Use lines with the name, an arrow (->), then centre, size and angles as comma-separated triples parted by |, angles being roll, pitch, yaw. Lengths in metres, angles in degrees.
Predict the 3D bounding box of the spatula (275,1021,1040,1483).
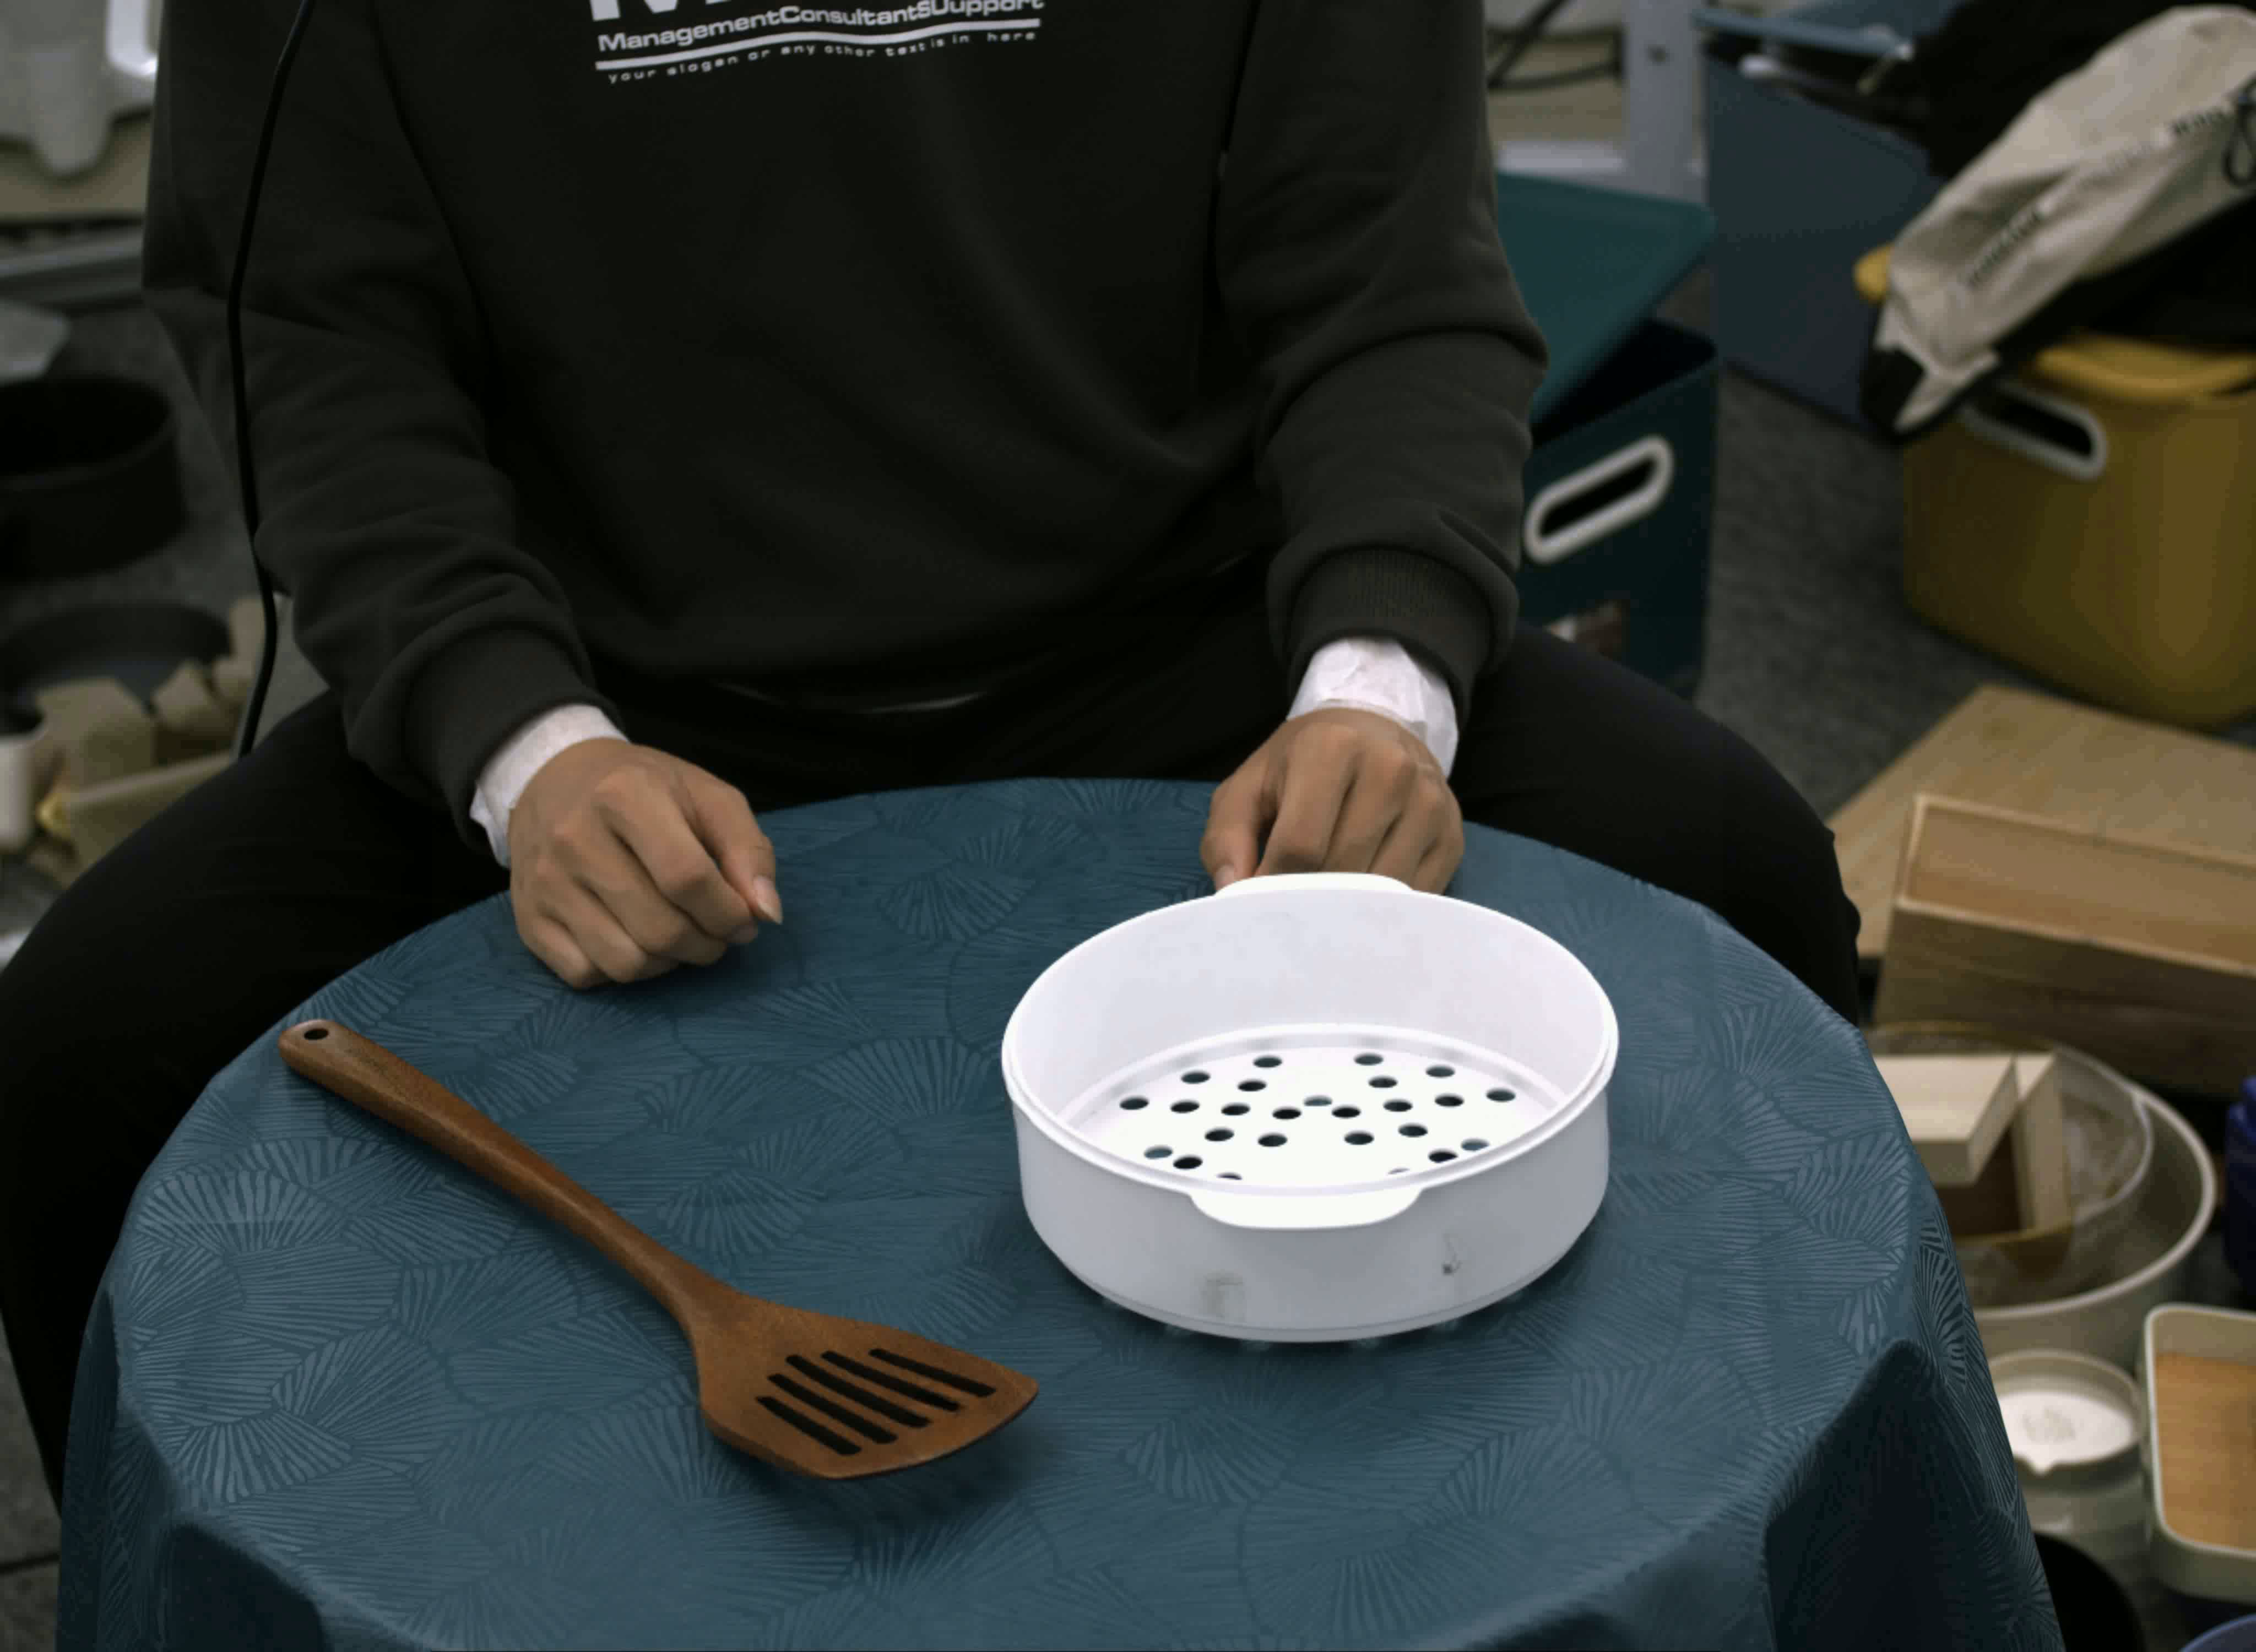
spatula -> -0.173, 0.135, 1.830 | 0.086, 0.023, 0.385 | -20, 31, -34

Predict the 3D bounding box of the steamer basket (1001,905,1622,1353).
steamer basket -> 0.059, 0.100, 1.832 | 0.201, 0.068, 0.234 | 1, 24, 2
